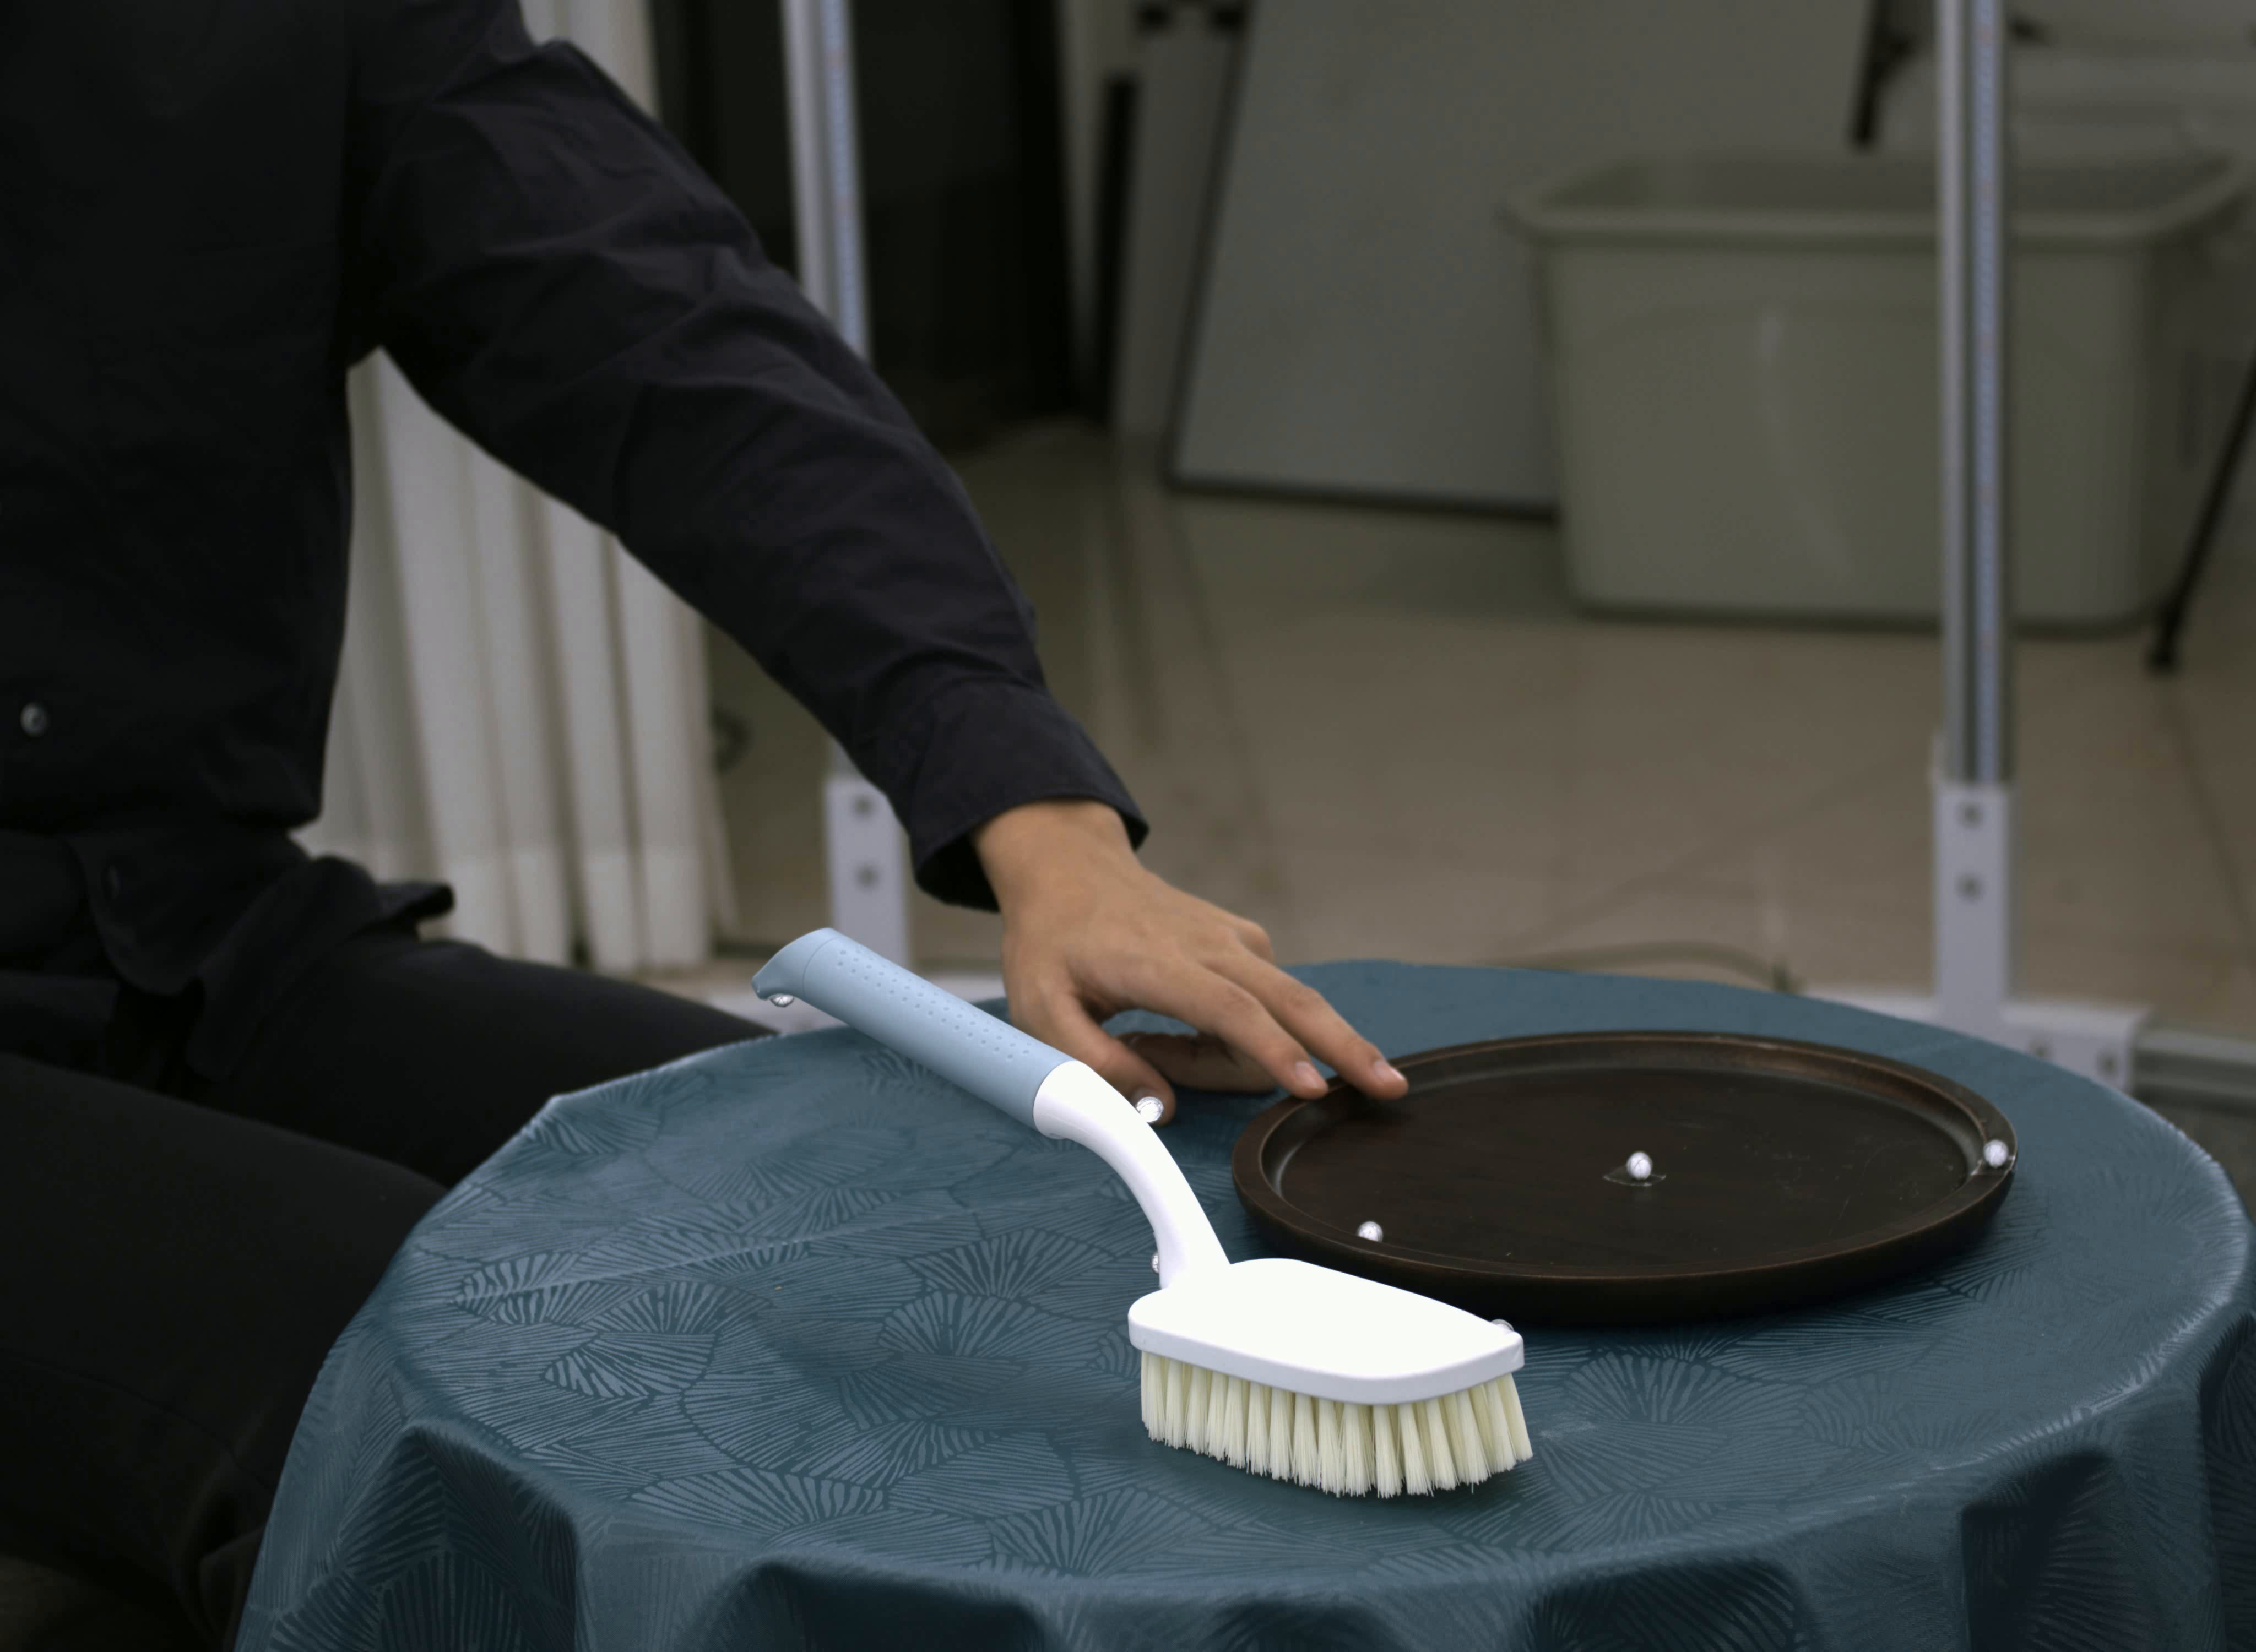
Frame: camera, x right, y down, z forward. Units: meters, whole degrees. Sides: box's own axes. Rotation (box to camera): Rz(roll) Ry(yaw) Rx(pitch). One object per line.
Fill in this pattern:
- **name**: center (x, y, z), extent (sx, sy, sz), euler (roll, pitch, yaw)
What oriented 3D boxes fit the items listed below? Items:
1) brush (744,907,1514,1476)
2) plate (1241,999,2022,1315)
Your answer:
- **brush**: center (-0.006, 0.121, 1.600), extent (0.329, 0.085, 0.082), euler (27, -7, 42)
- **plate**: center (0.161, 0.106, 1.733), extent (0.251, 0.029, 0.255), euler (-4, 16, 0)
